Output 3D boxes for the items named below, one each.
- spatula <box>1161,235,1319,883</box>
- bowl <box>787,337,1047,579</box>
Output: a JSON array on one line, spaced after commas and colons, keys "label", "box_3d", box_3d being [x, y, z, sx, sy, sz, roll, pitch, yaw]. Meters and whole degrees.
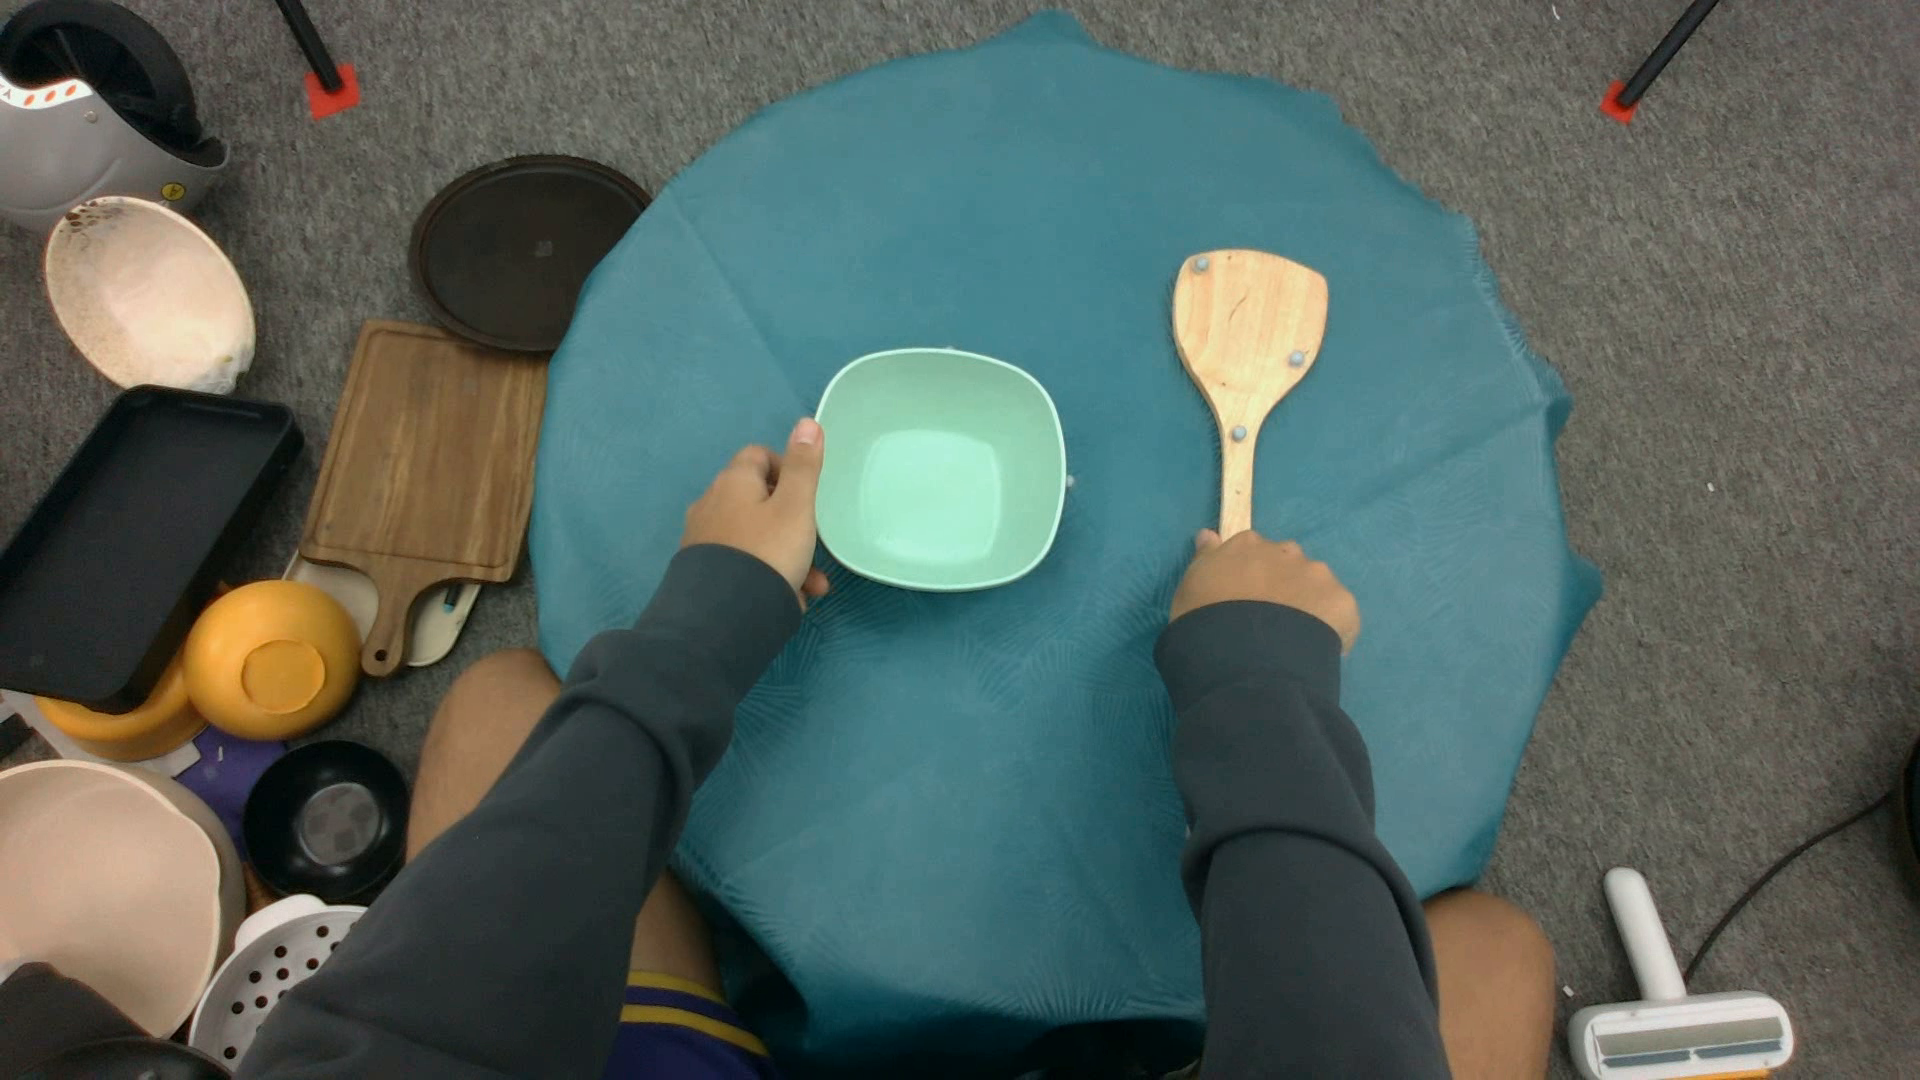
[{"label": "spatula", "box_3d": [0.151, -0.004, 0.783, 0.096, 0.018, 0.392, 8, 68, -1]}, {"label": "bowl", "box_3d": [-0.025, -0.037, 0.757, 0.151, 0.058, 0.152, 2, 69, -6]}]
